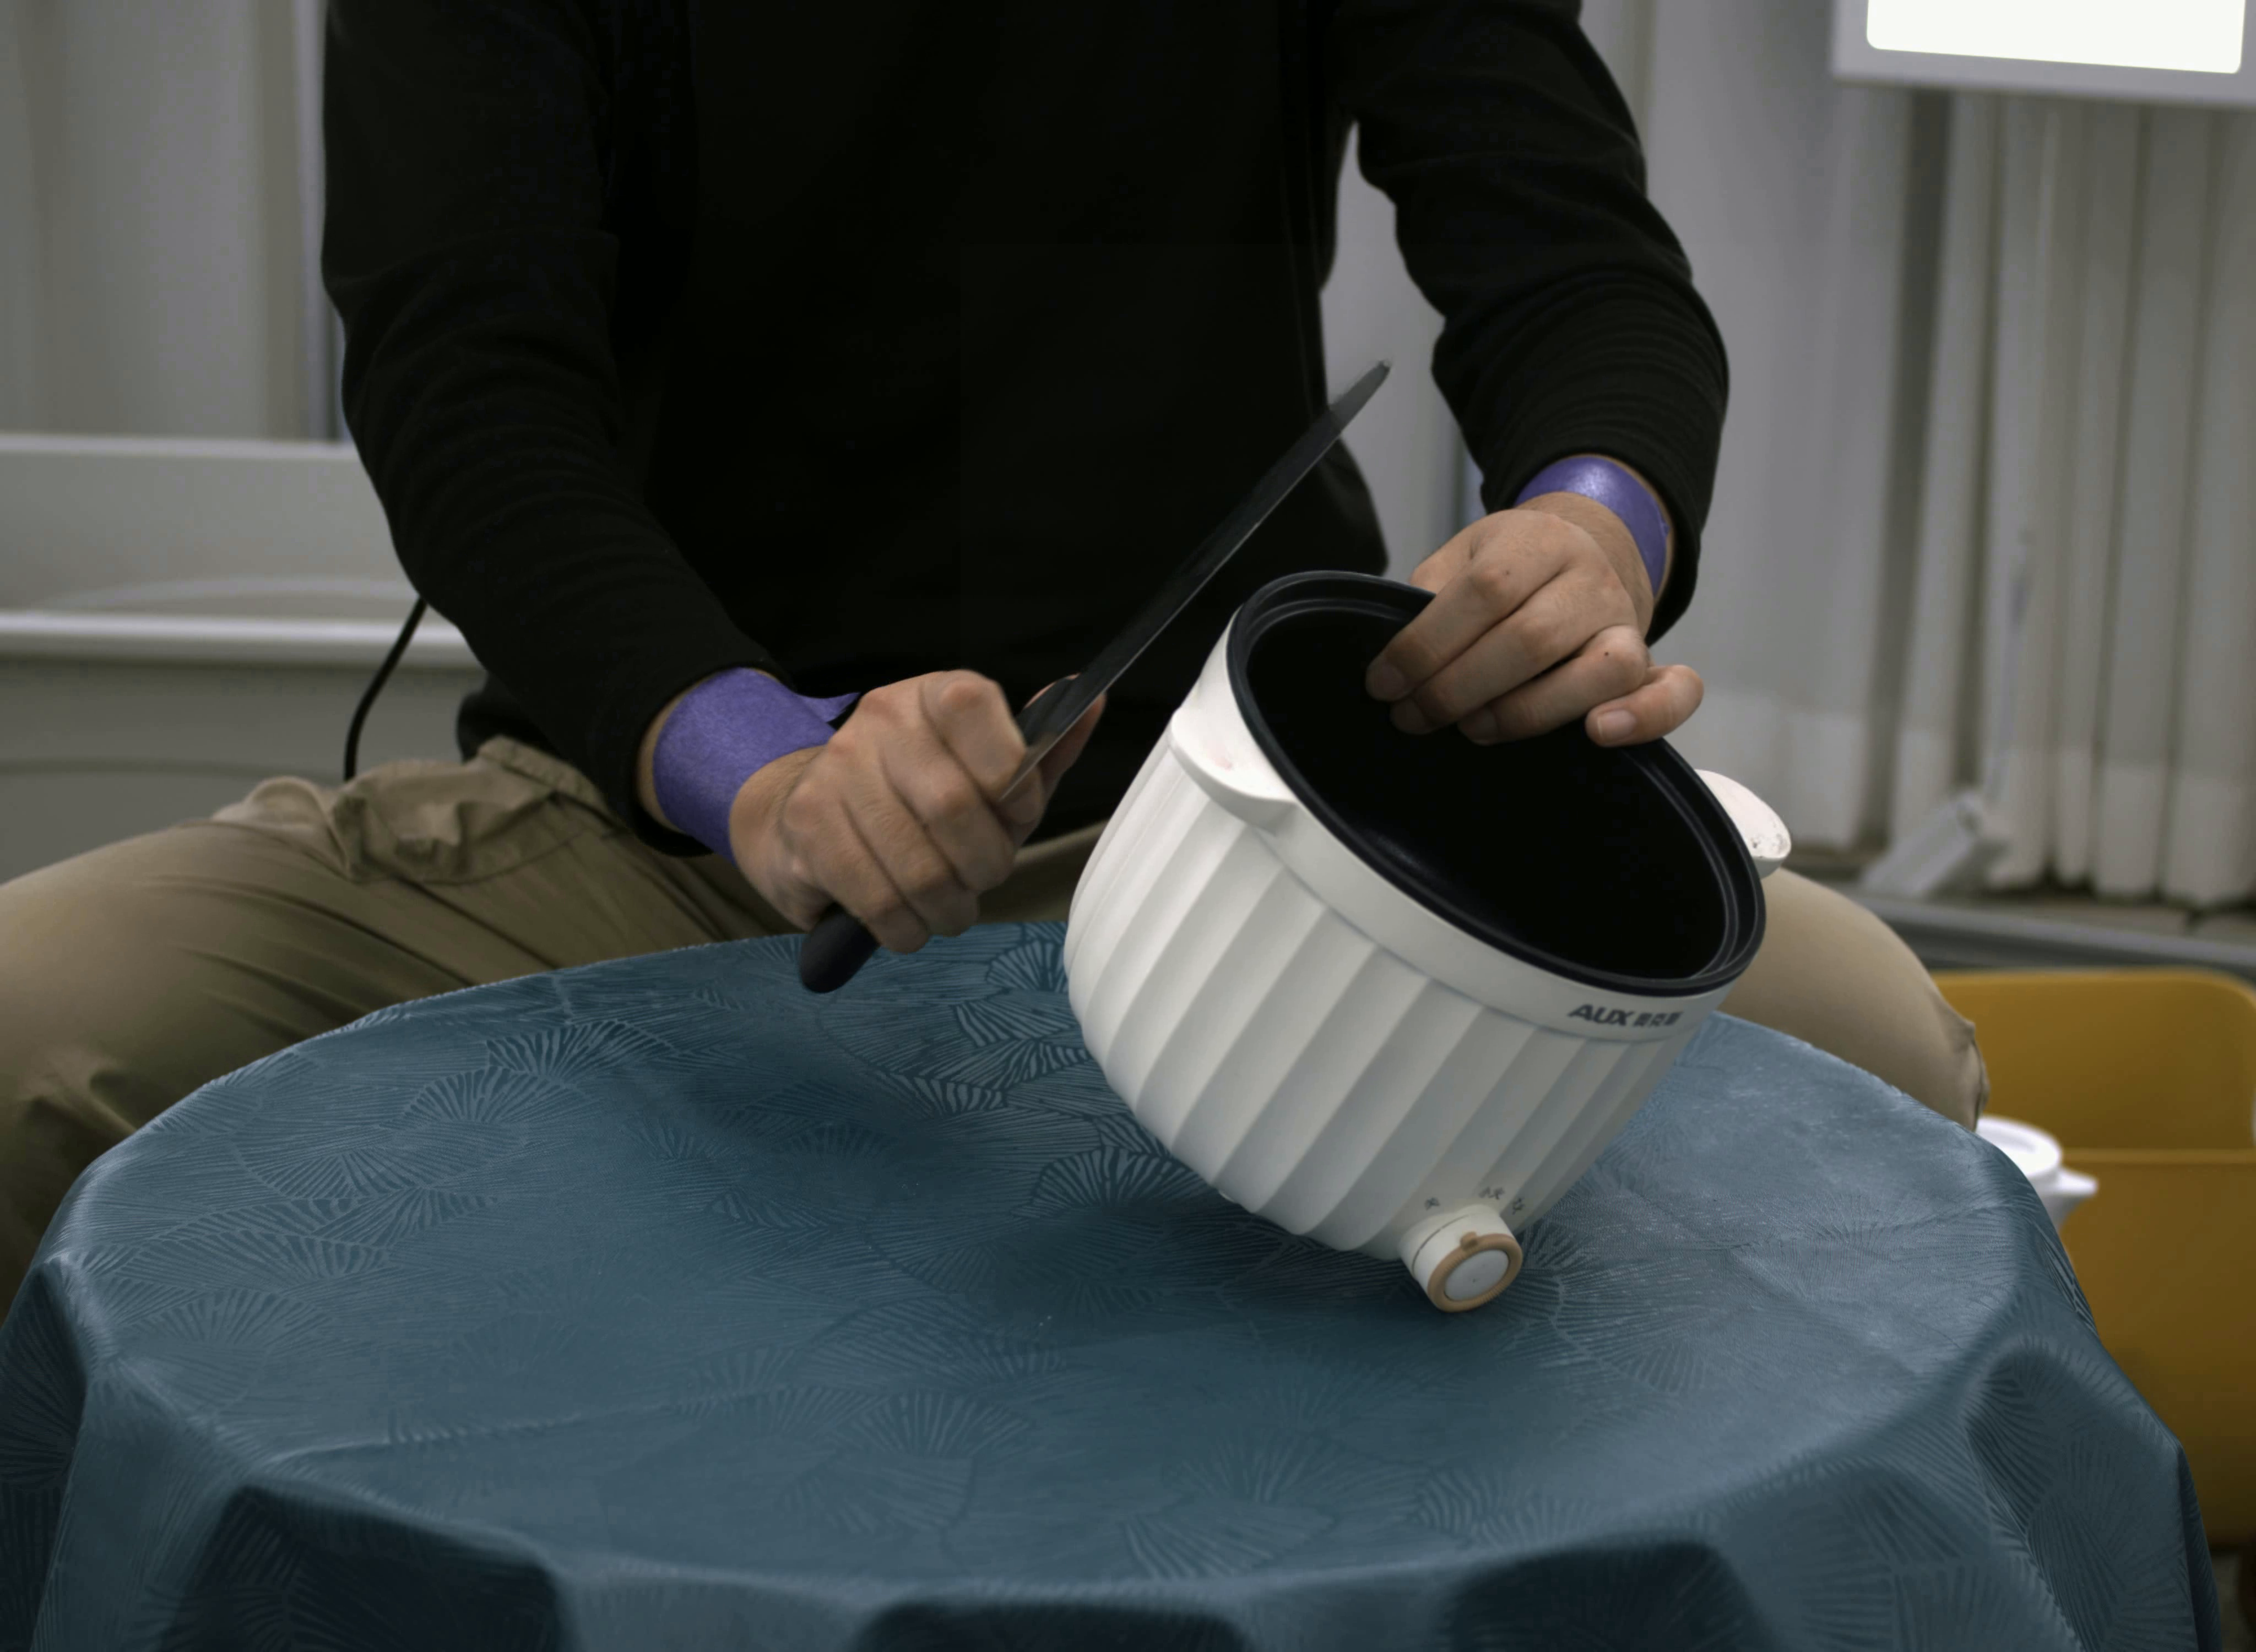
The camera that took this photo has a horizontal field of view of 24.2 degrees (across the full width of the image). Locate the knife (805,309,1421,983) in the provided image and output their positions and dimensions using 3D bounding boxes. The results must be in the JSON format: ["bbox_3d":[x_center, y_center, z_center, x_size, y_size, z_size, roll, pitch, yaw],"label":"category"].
[{"bbox_3d":[-0.009,-0.047,1.593,0.021,0.302,0.080,40,35,-6],"label":"knife"}]

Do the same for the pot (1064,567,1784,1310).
[{"bbox_3d":[0.080,0.036,1.554,0.242,0.143,0.188,5,36,-40],"label":"pot"}]
